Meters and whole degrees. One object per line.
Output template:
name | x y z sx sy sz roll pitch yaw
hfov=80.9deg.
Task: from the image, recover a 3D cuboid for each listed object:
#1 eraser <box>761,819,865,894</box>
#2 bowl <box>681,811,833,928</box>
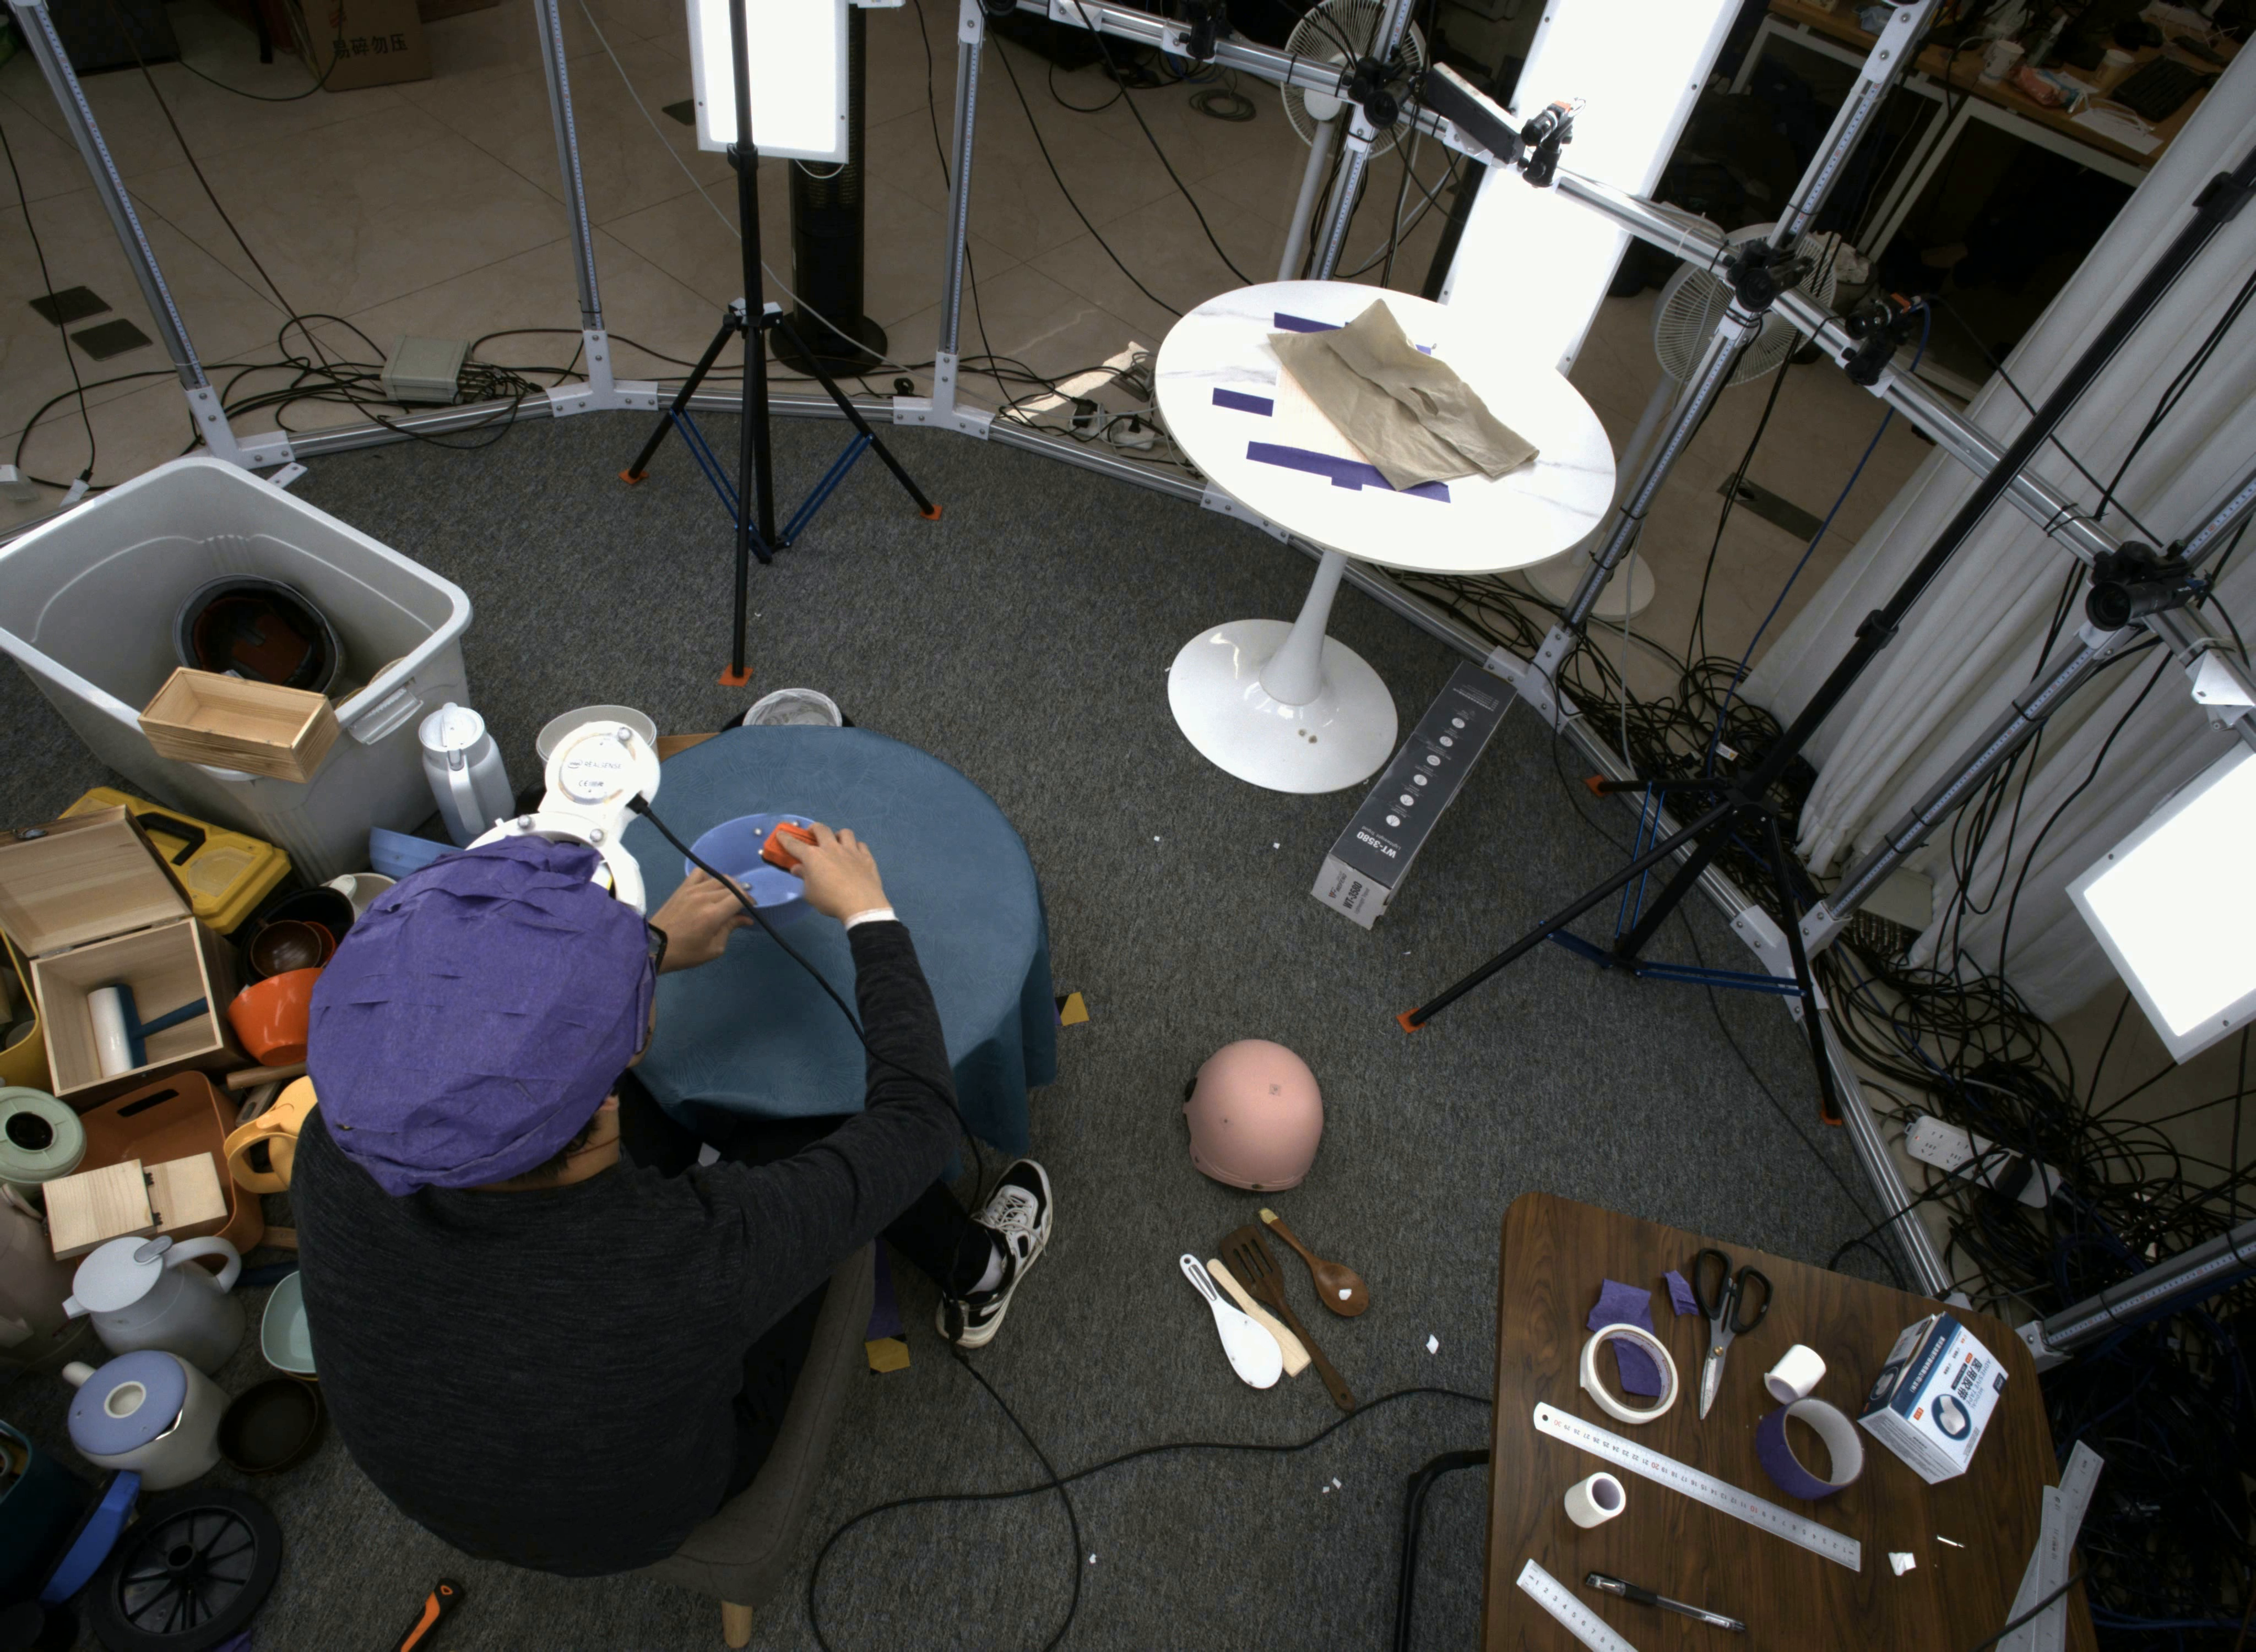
eraser | -0.358 0.033 1.475 0.108 0.023 0.058 25 35 -5
bowl | -0.429 0.057 1.515 0.174 0.072 0.172 3 36 -1
